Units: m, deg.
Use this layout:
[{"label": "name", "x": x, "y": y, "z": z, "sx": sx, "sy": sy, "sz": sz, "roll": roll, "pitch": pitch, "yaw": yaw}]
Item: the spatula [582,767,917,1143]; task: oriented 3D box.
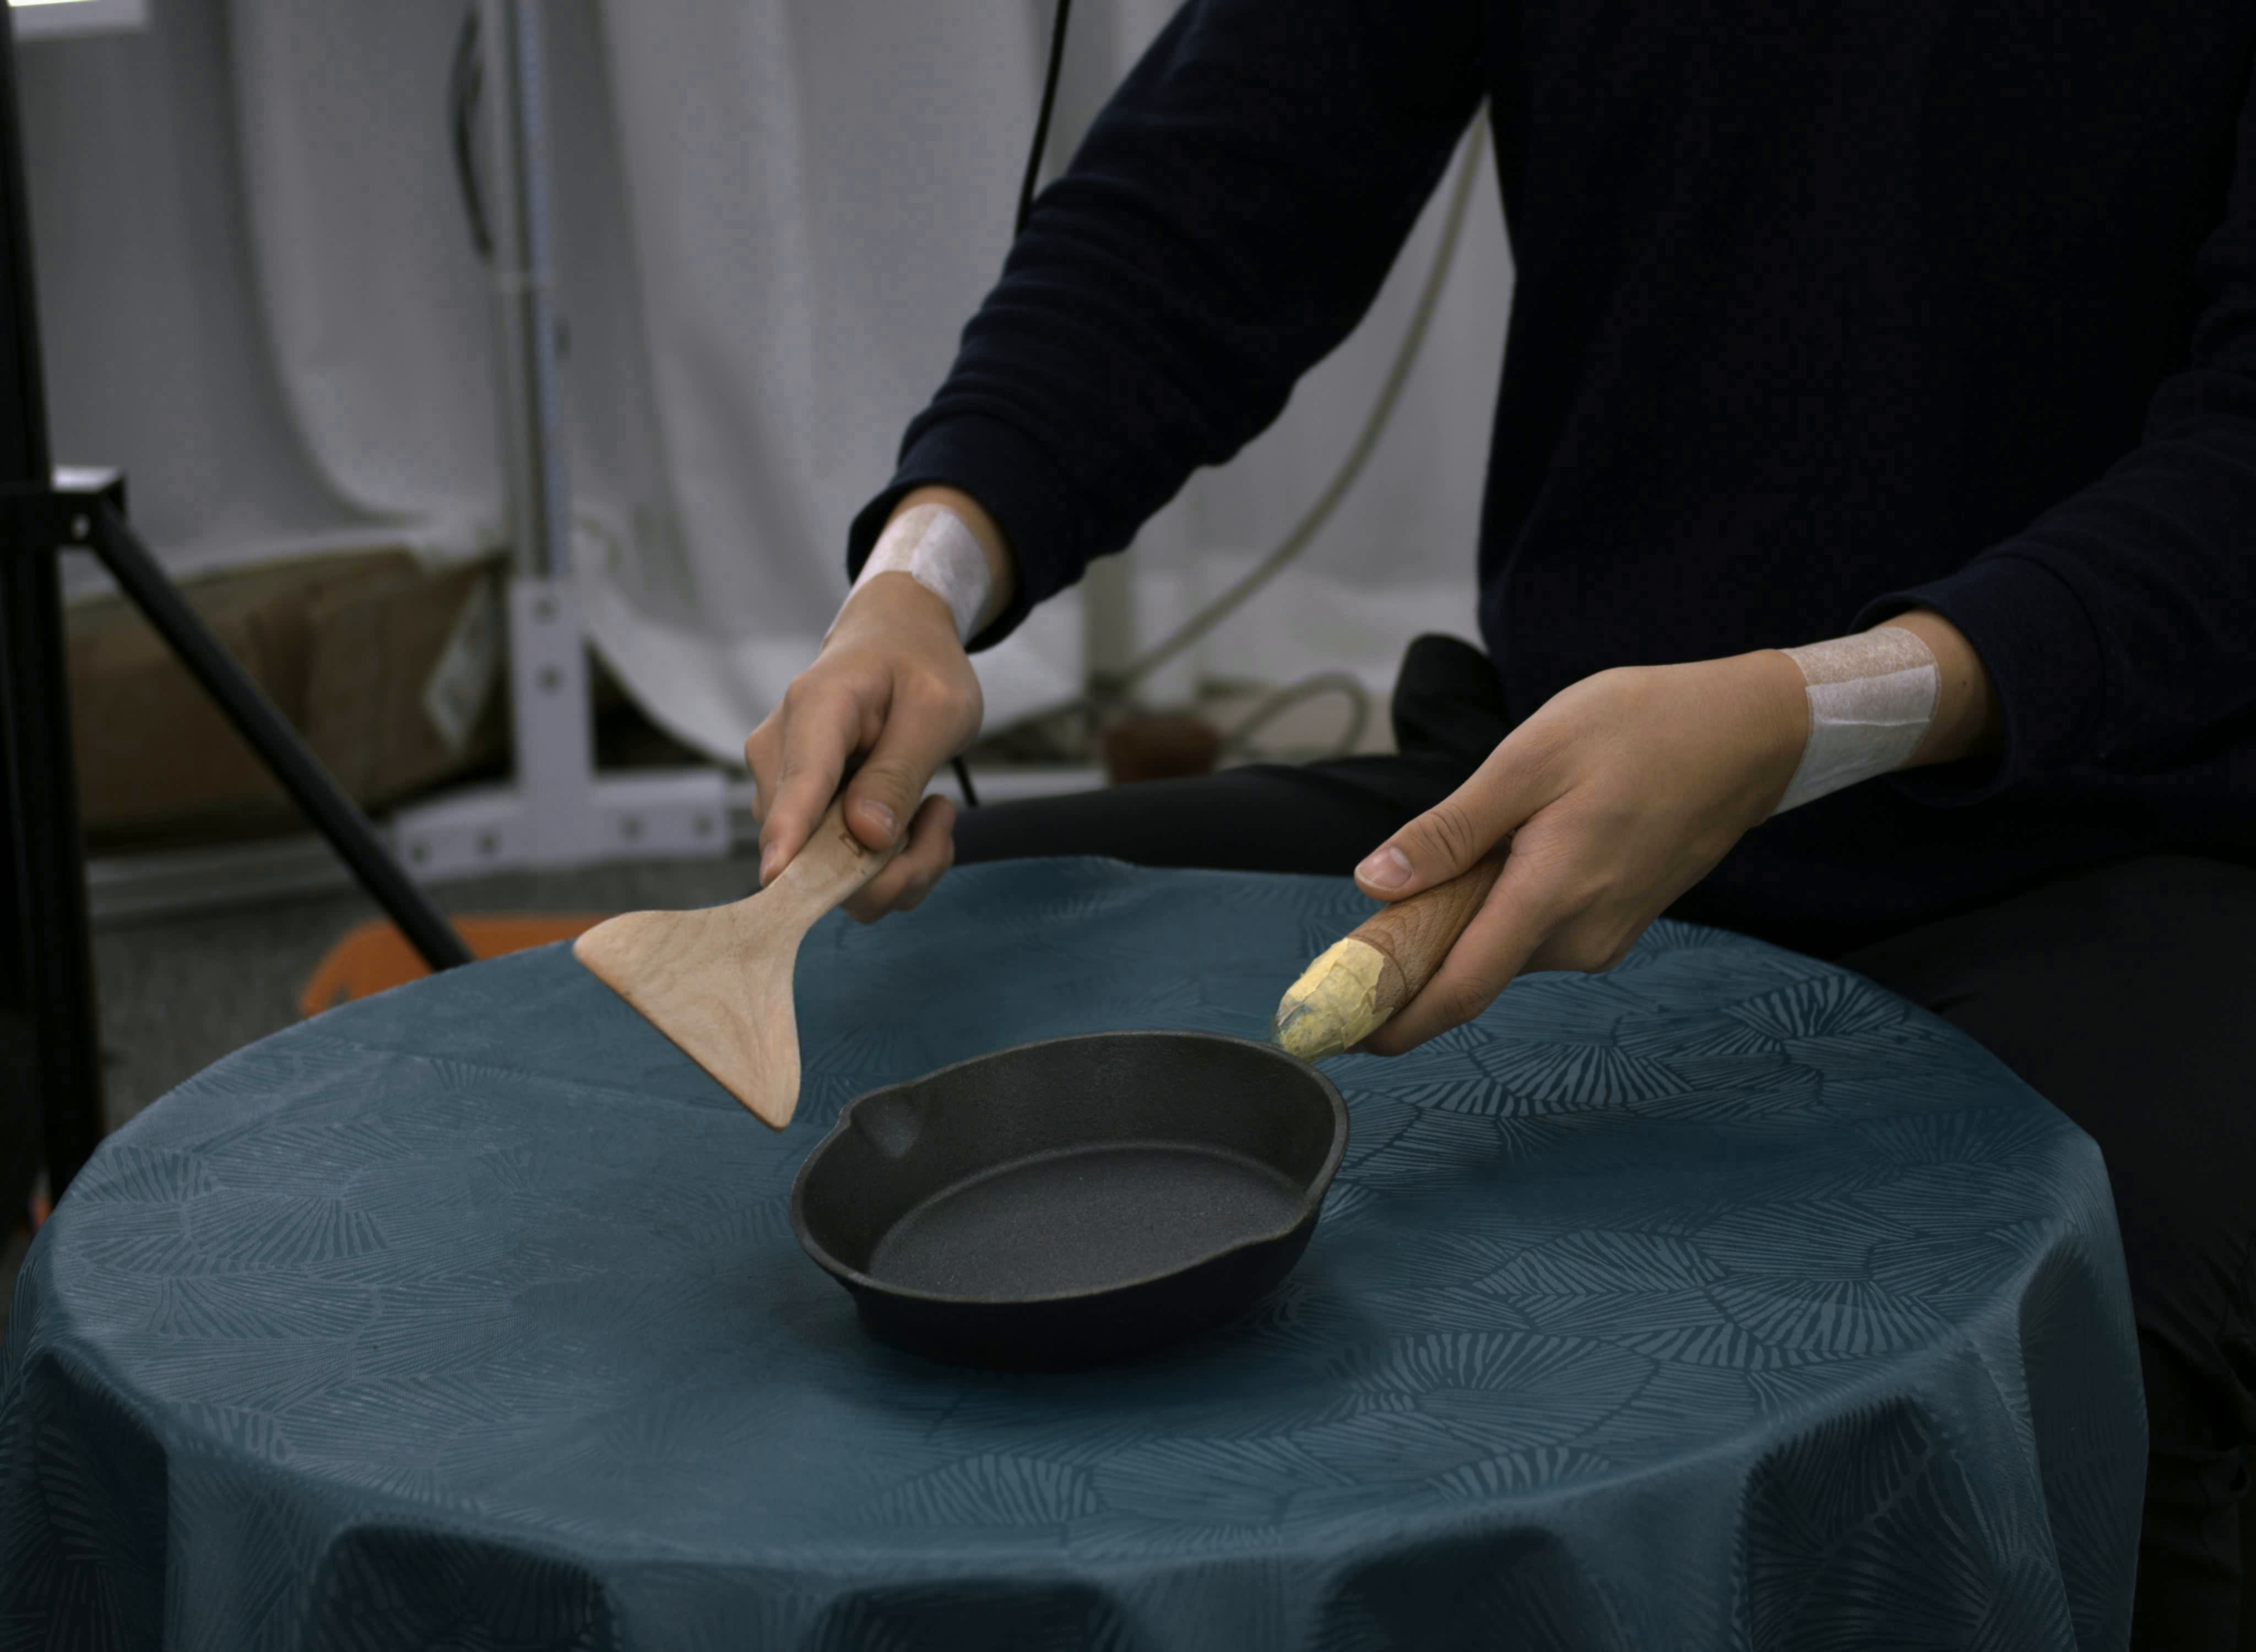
[{"label": "spatula", "x": -0.099, "y": 0.026, "z": 1.590, "sx": 0.016, "sy": 0.080, "sz": 0.326, "roll": -43, "pitch": 4, "yaw": 16}]

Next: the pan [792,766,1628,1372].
[{"label": "pan", "x": 0.043, "y": 0.066, "z": 1.517, "sx": 0.318, "sy": 0.049, "sz": 0.173, "roll": -31, "pitch": 30, "yaw": -36}]
